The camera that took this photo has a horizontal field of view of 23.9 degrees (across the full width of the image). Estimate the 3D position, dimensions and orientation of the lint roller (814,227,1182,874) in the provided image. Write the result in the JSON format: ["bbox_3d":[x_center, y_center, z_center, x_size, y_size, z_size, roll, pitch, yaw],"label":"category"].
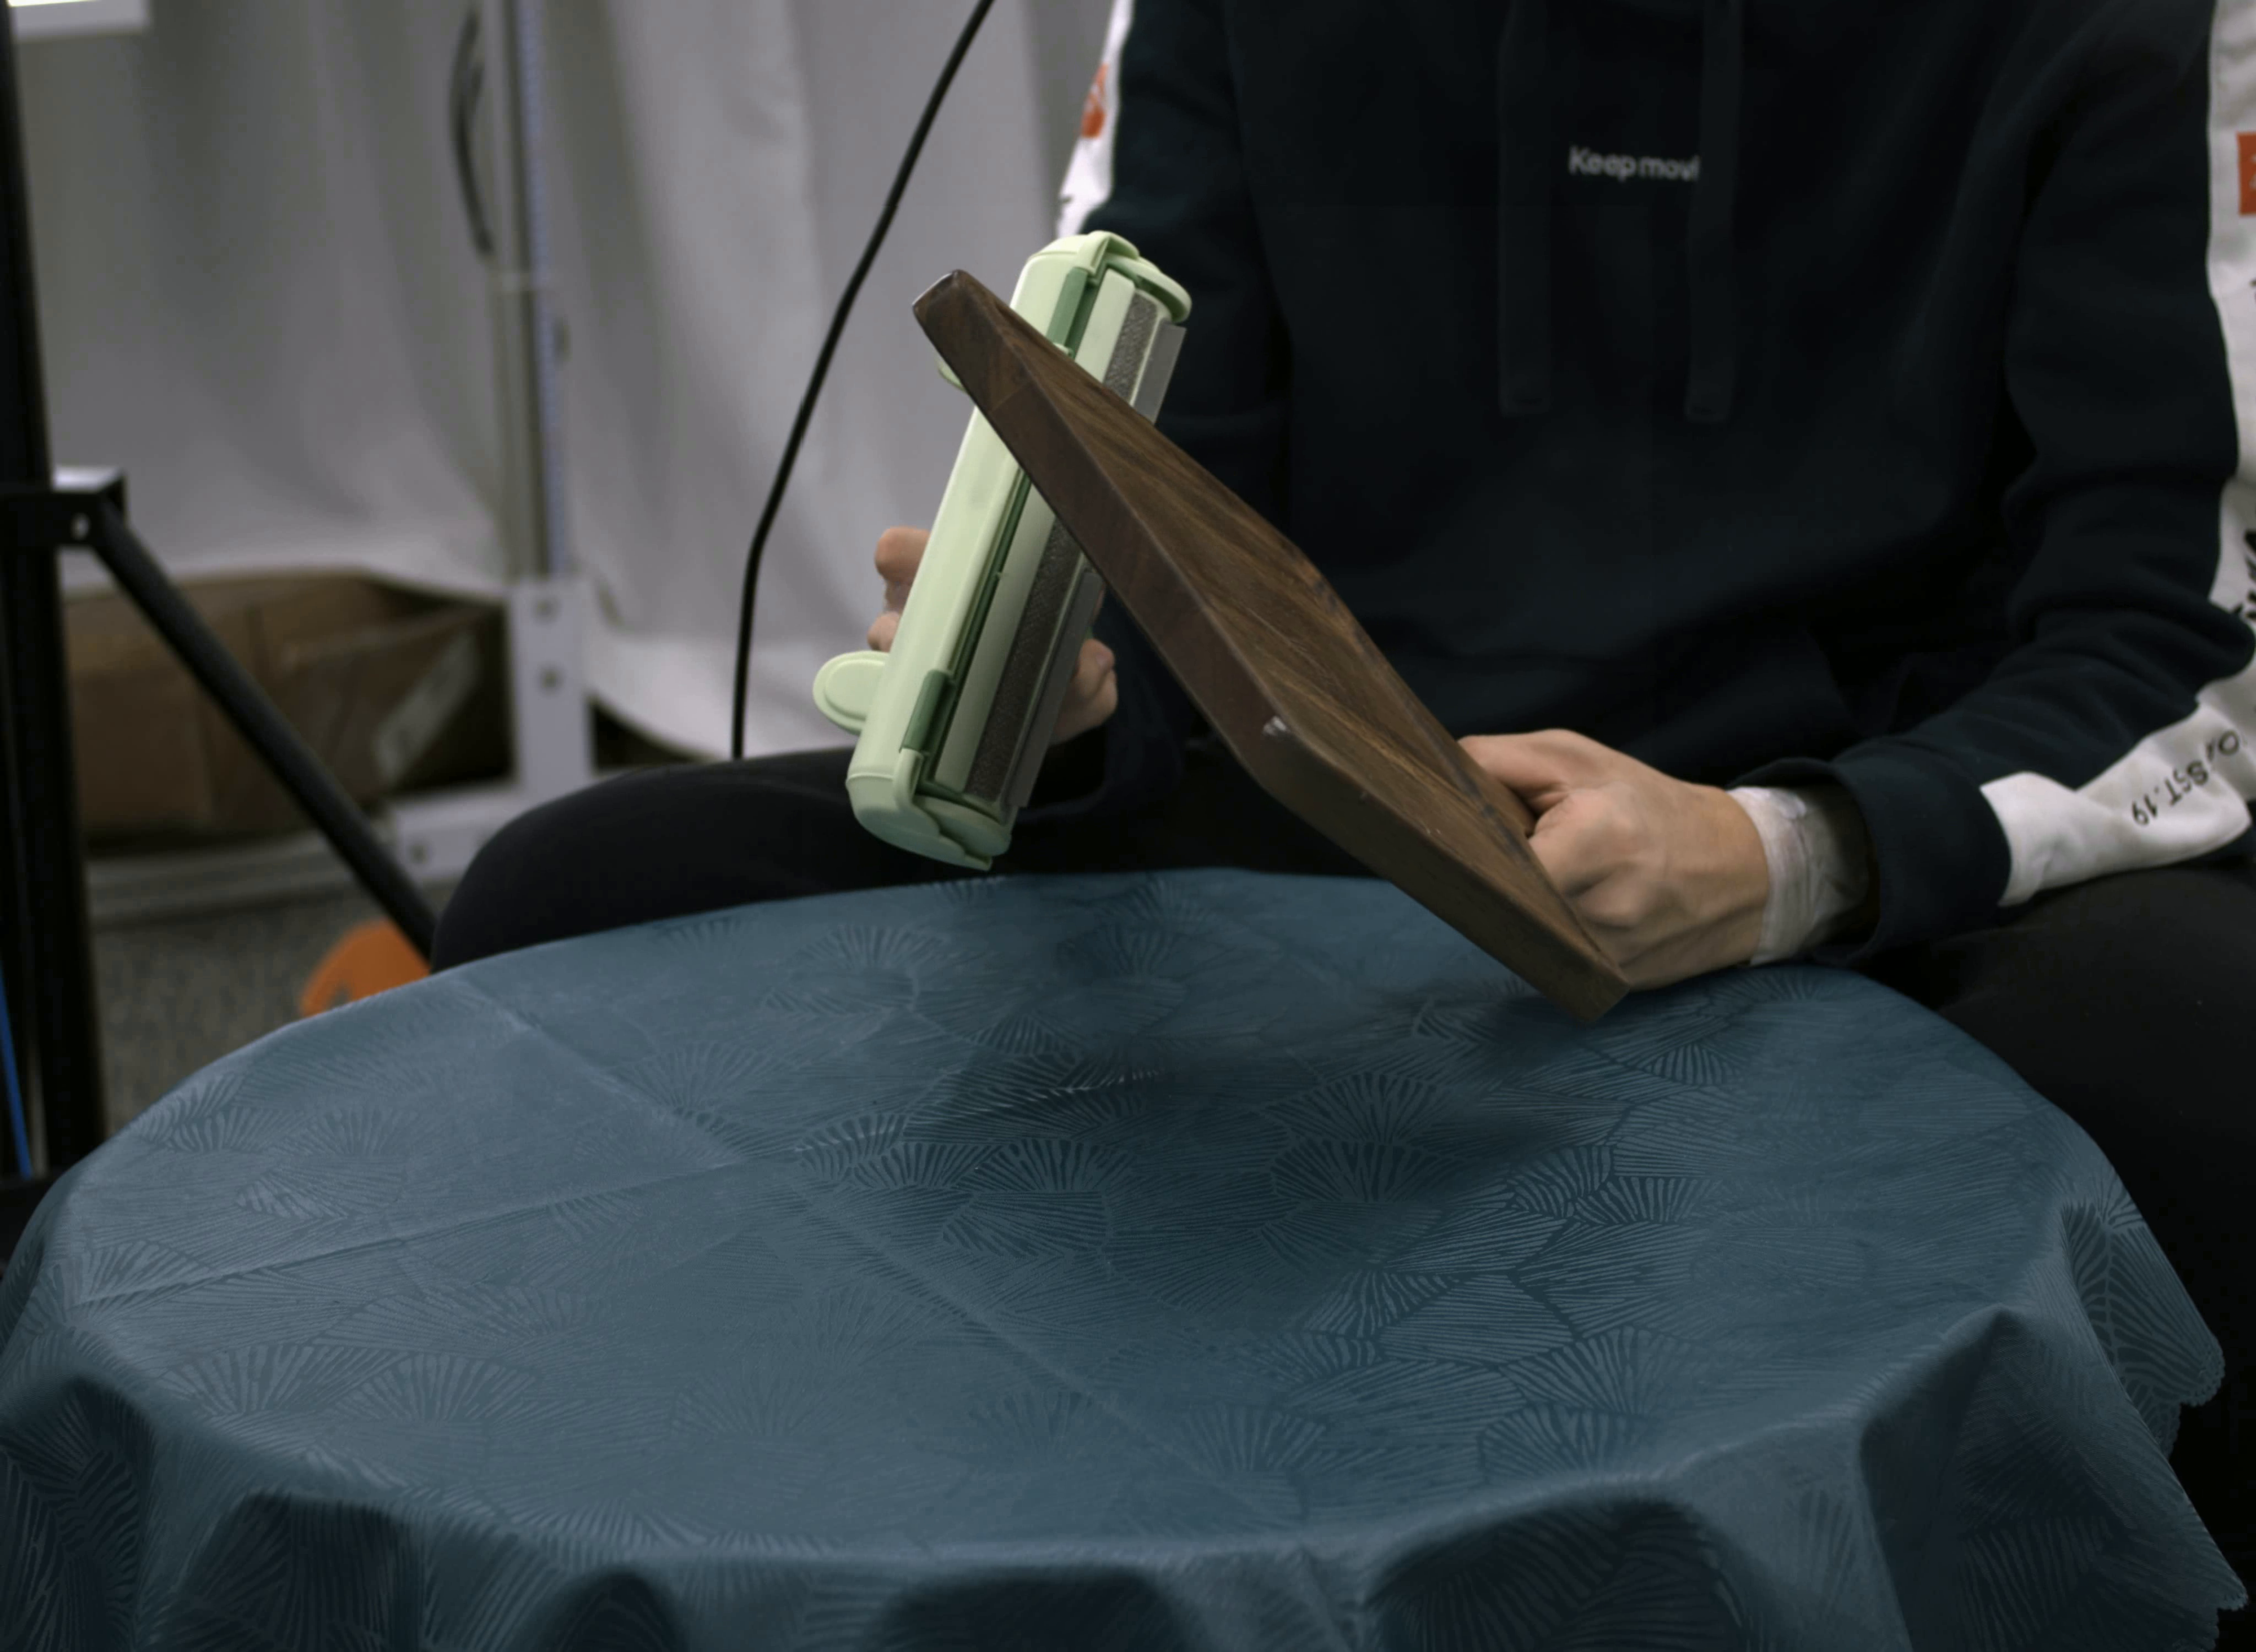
[{"bbox_3d":[-0.047,-0.076,1.698,0.082,0.199,0.183,18,-14,-3],"label":"lint roller"}]

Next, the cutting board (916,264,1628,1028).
[{"bbox_3d":[0.066,-0.033,1.573,0.205,0.023,0.344,55,10,30],"label":"cutting board"}]
